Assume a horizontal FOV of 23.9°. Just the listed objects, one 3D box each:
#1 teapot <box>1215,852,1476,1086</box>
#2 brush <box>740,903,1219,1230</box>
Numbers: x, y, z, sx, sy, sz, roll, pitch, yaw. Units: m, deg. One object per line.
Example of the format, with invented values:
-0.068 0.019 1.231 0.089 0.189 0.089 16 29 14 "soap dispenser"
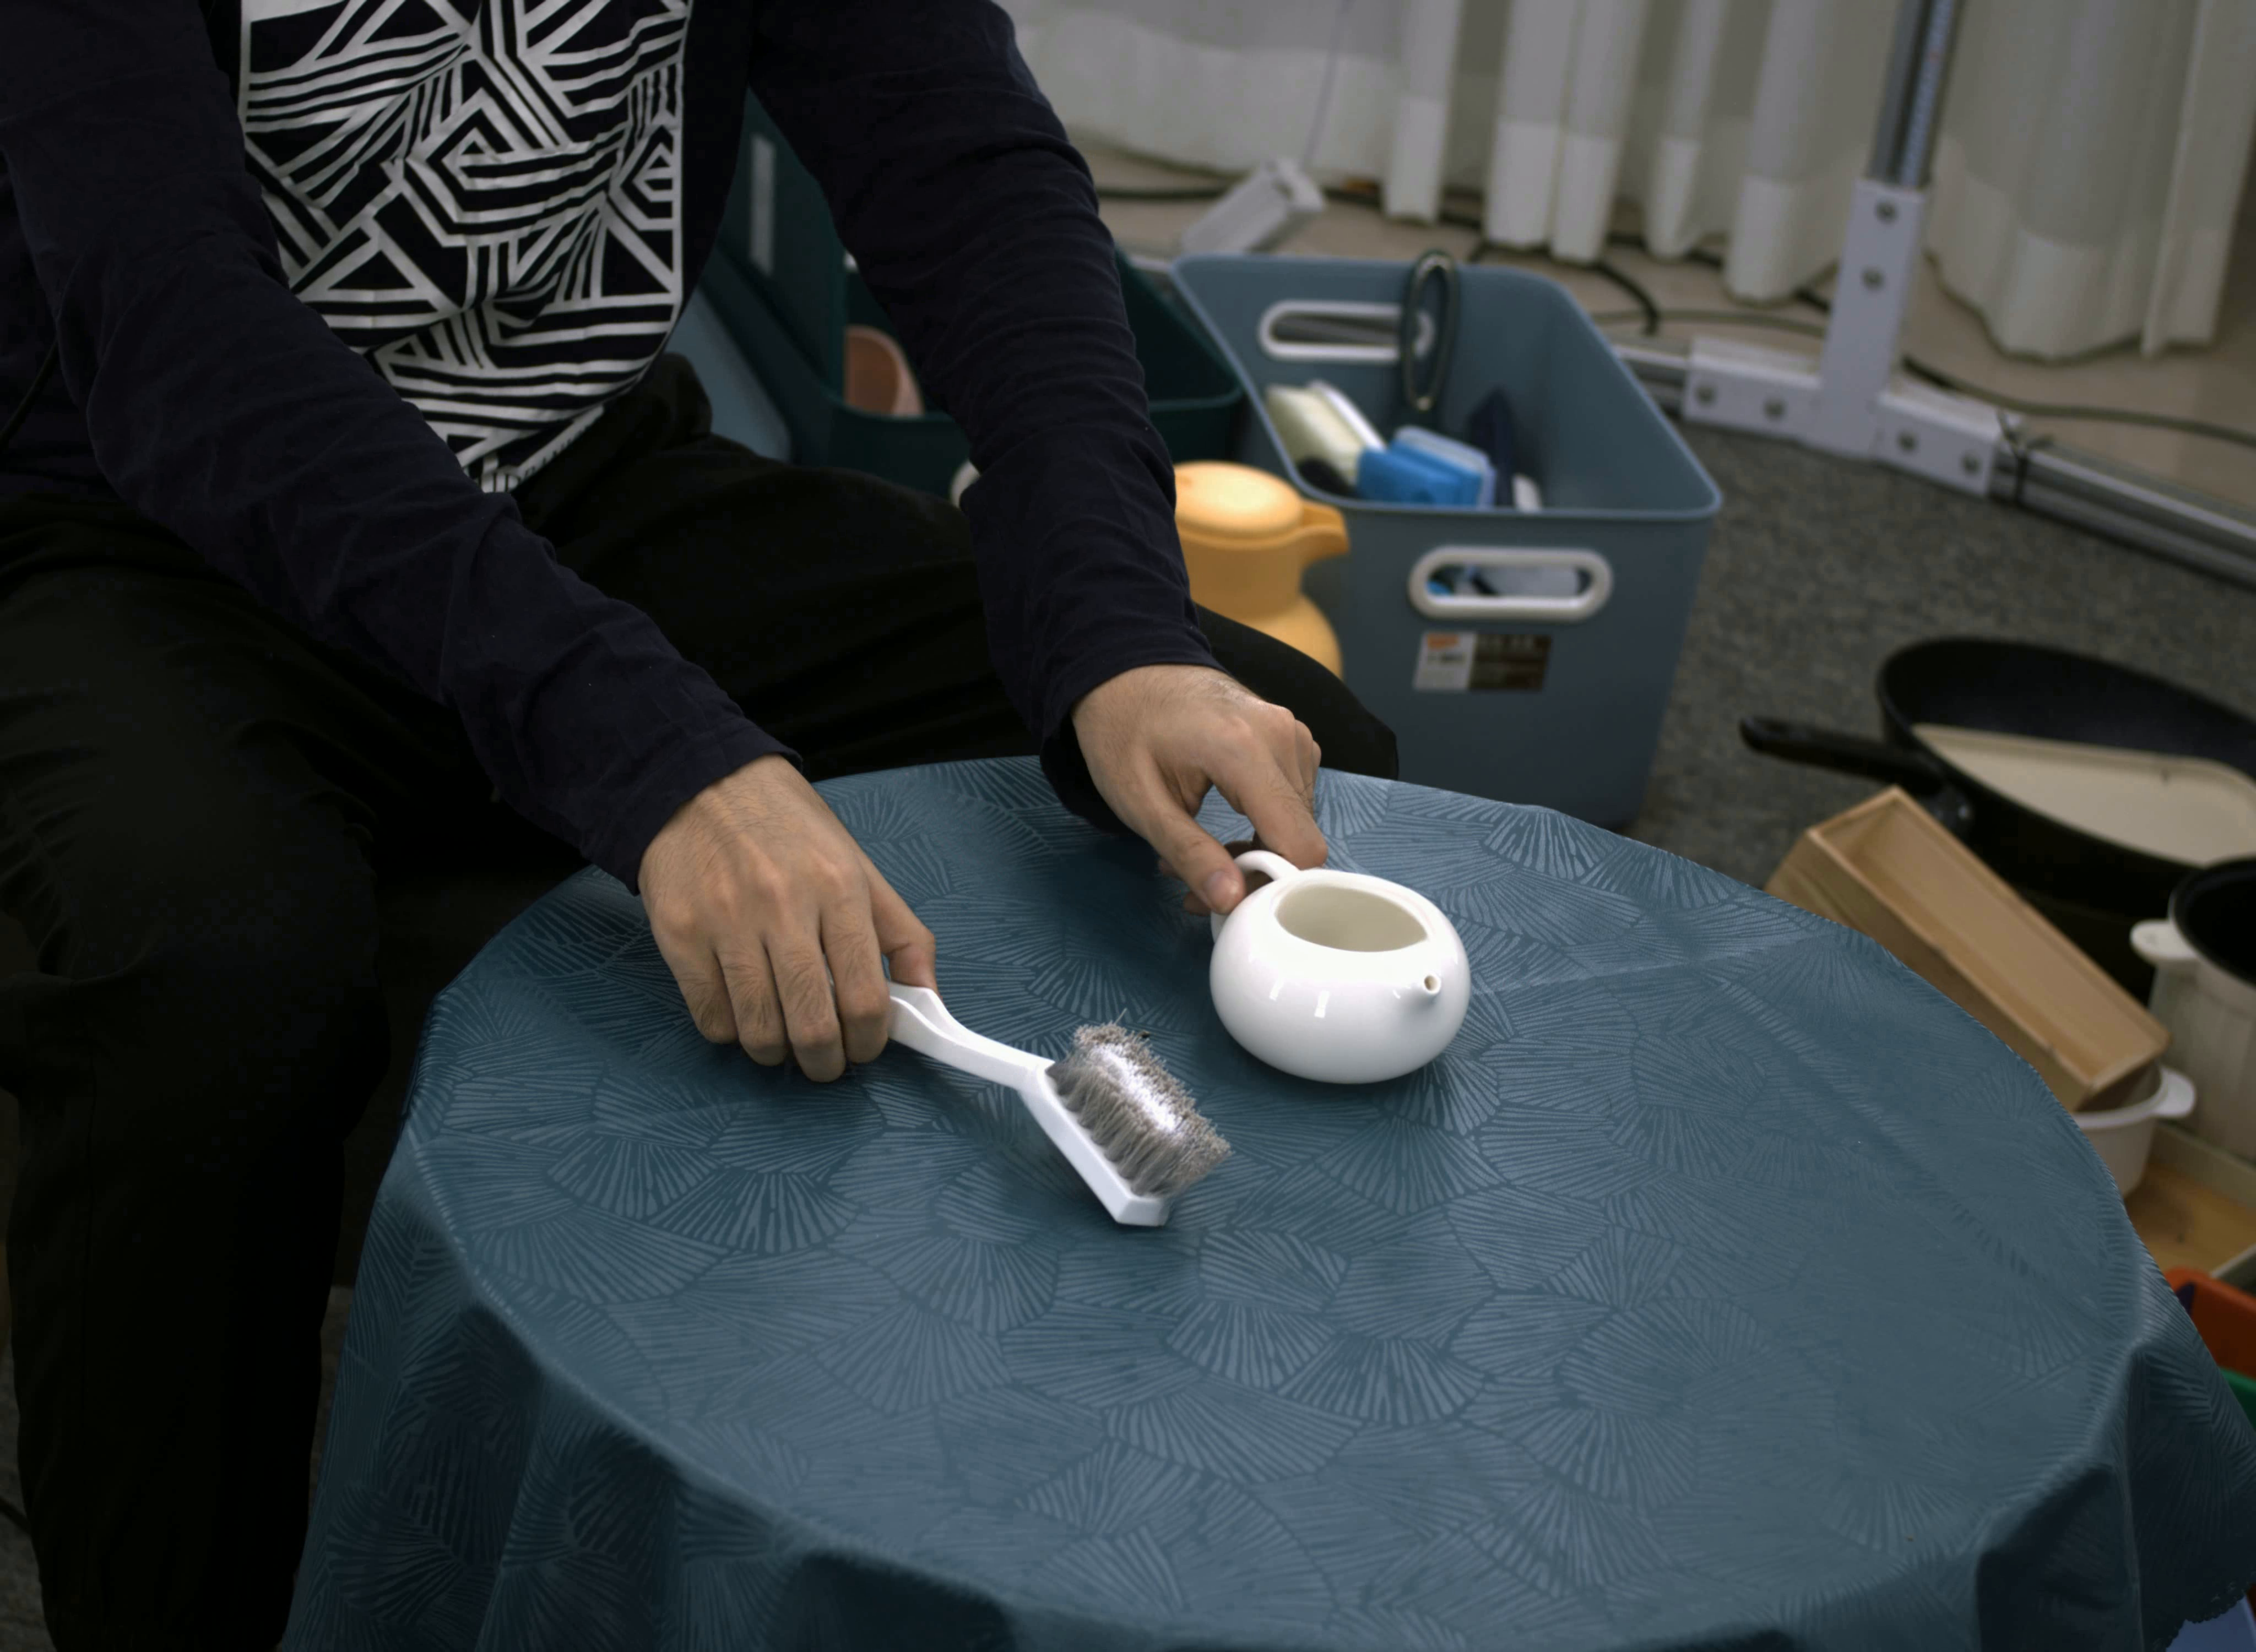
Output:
0.071 0.051 1.907 0.093 0.056 0.128 -19 34 -33 "teapot"
-0.056 0.066 1.849 0.034 0.050 0.246 -10 32 -39 "brush"
